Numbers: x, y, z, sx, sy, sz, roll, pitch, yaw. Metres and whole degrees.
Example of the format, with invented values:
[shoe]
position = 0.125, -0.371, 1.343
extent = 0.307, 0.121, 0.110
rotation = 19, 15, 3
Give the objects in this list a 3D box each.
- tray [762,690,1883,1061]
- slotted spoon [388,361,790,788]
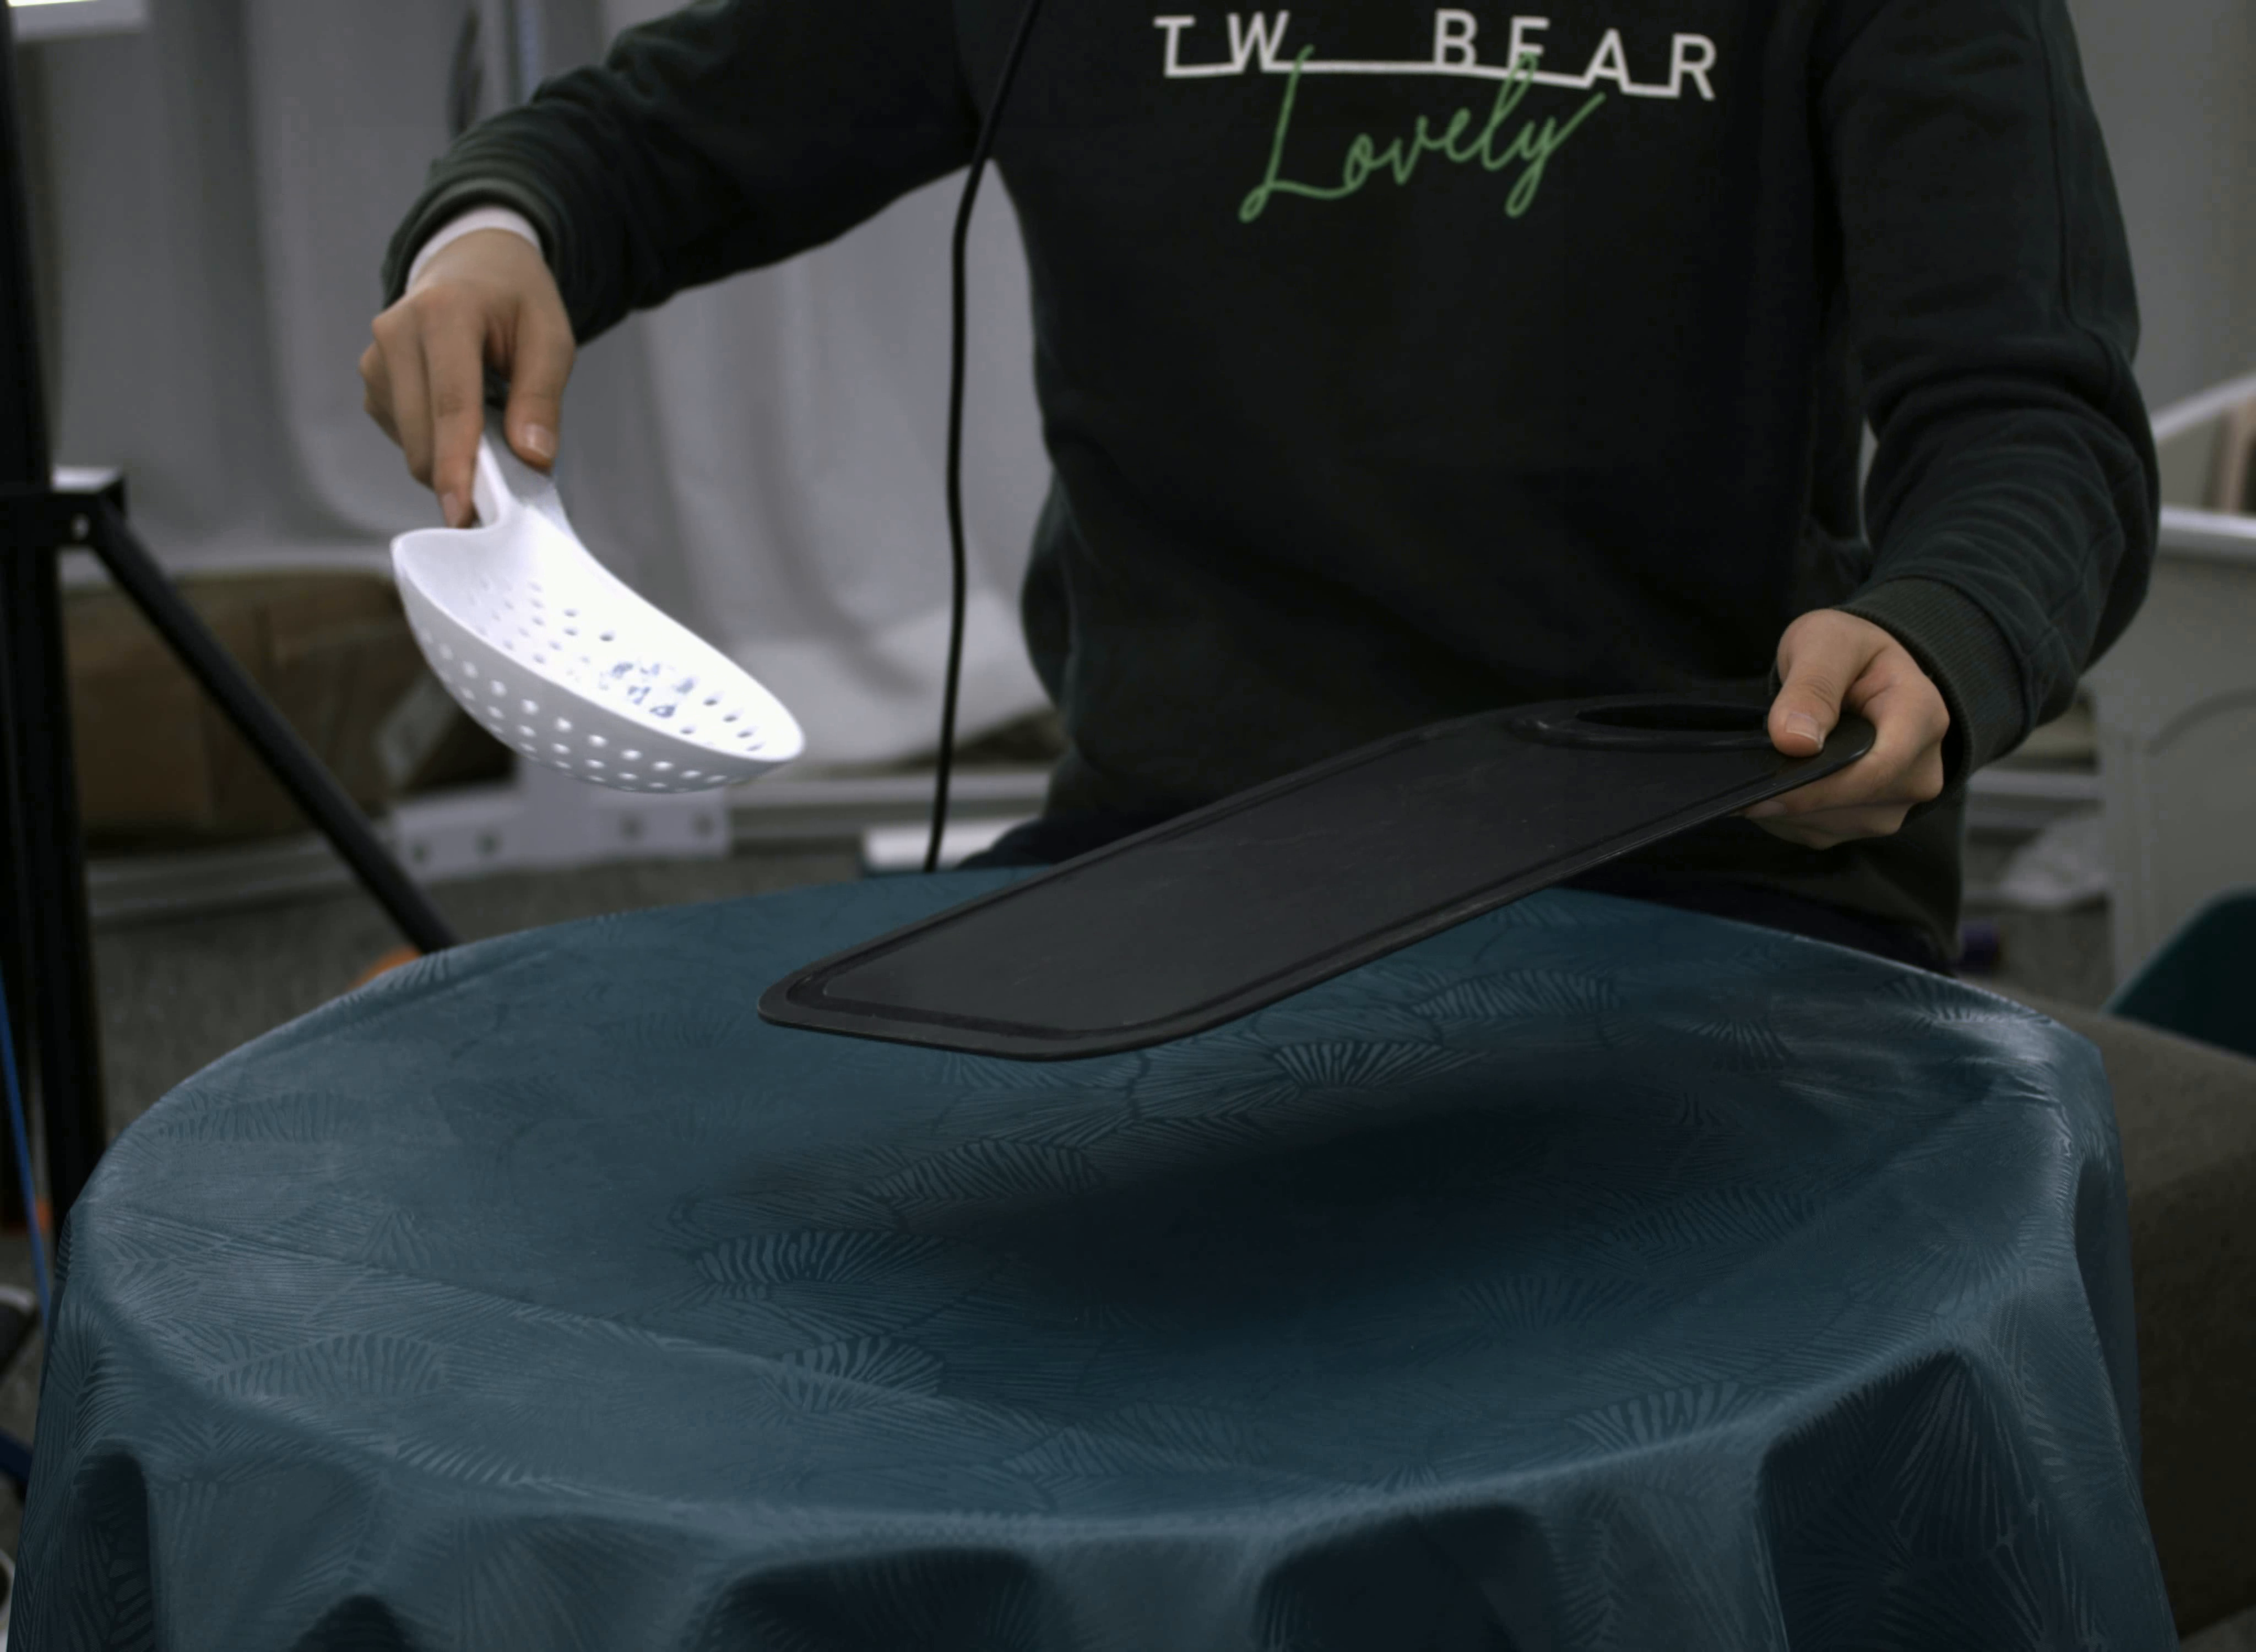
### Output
[tray]
position = 0.063, 0.008, 1.547
extent = 0.319, 0.010, 0.215
rotation = -21, 14, -31
[slotted spoon]
position = -0.189, -0.090, 1.701
extent = 0.133, 0.046, 0.354
rotation = 25, 18, -21
